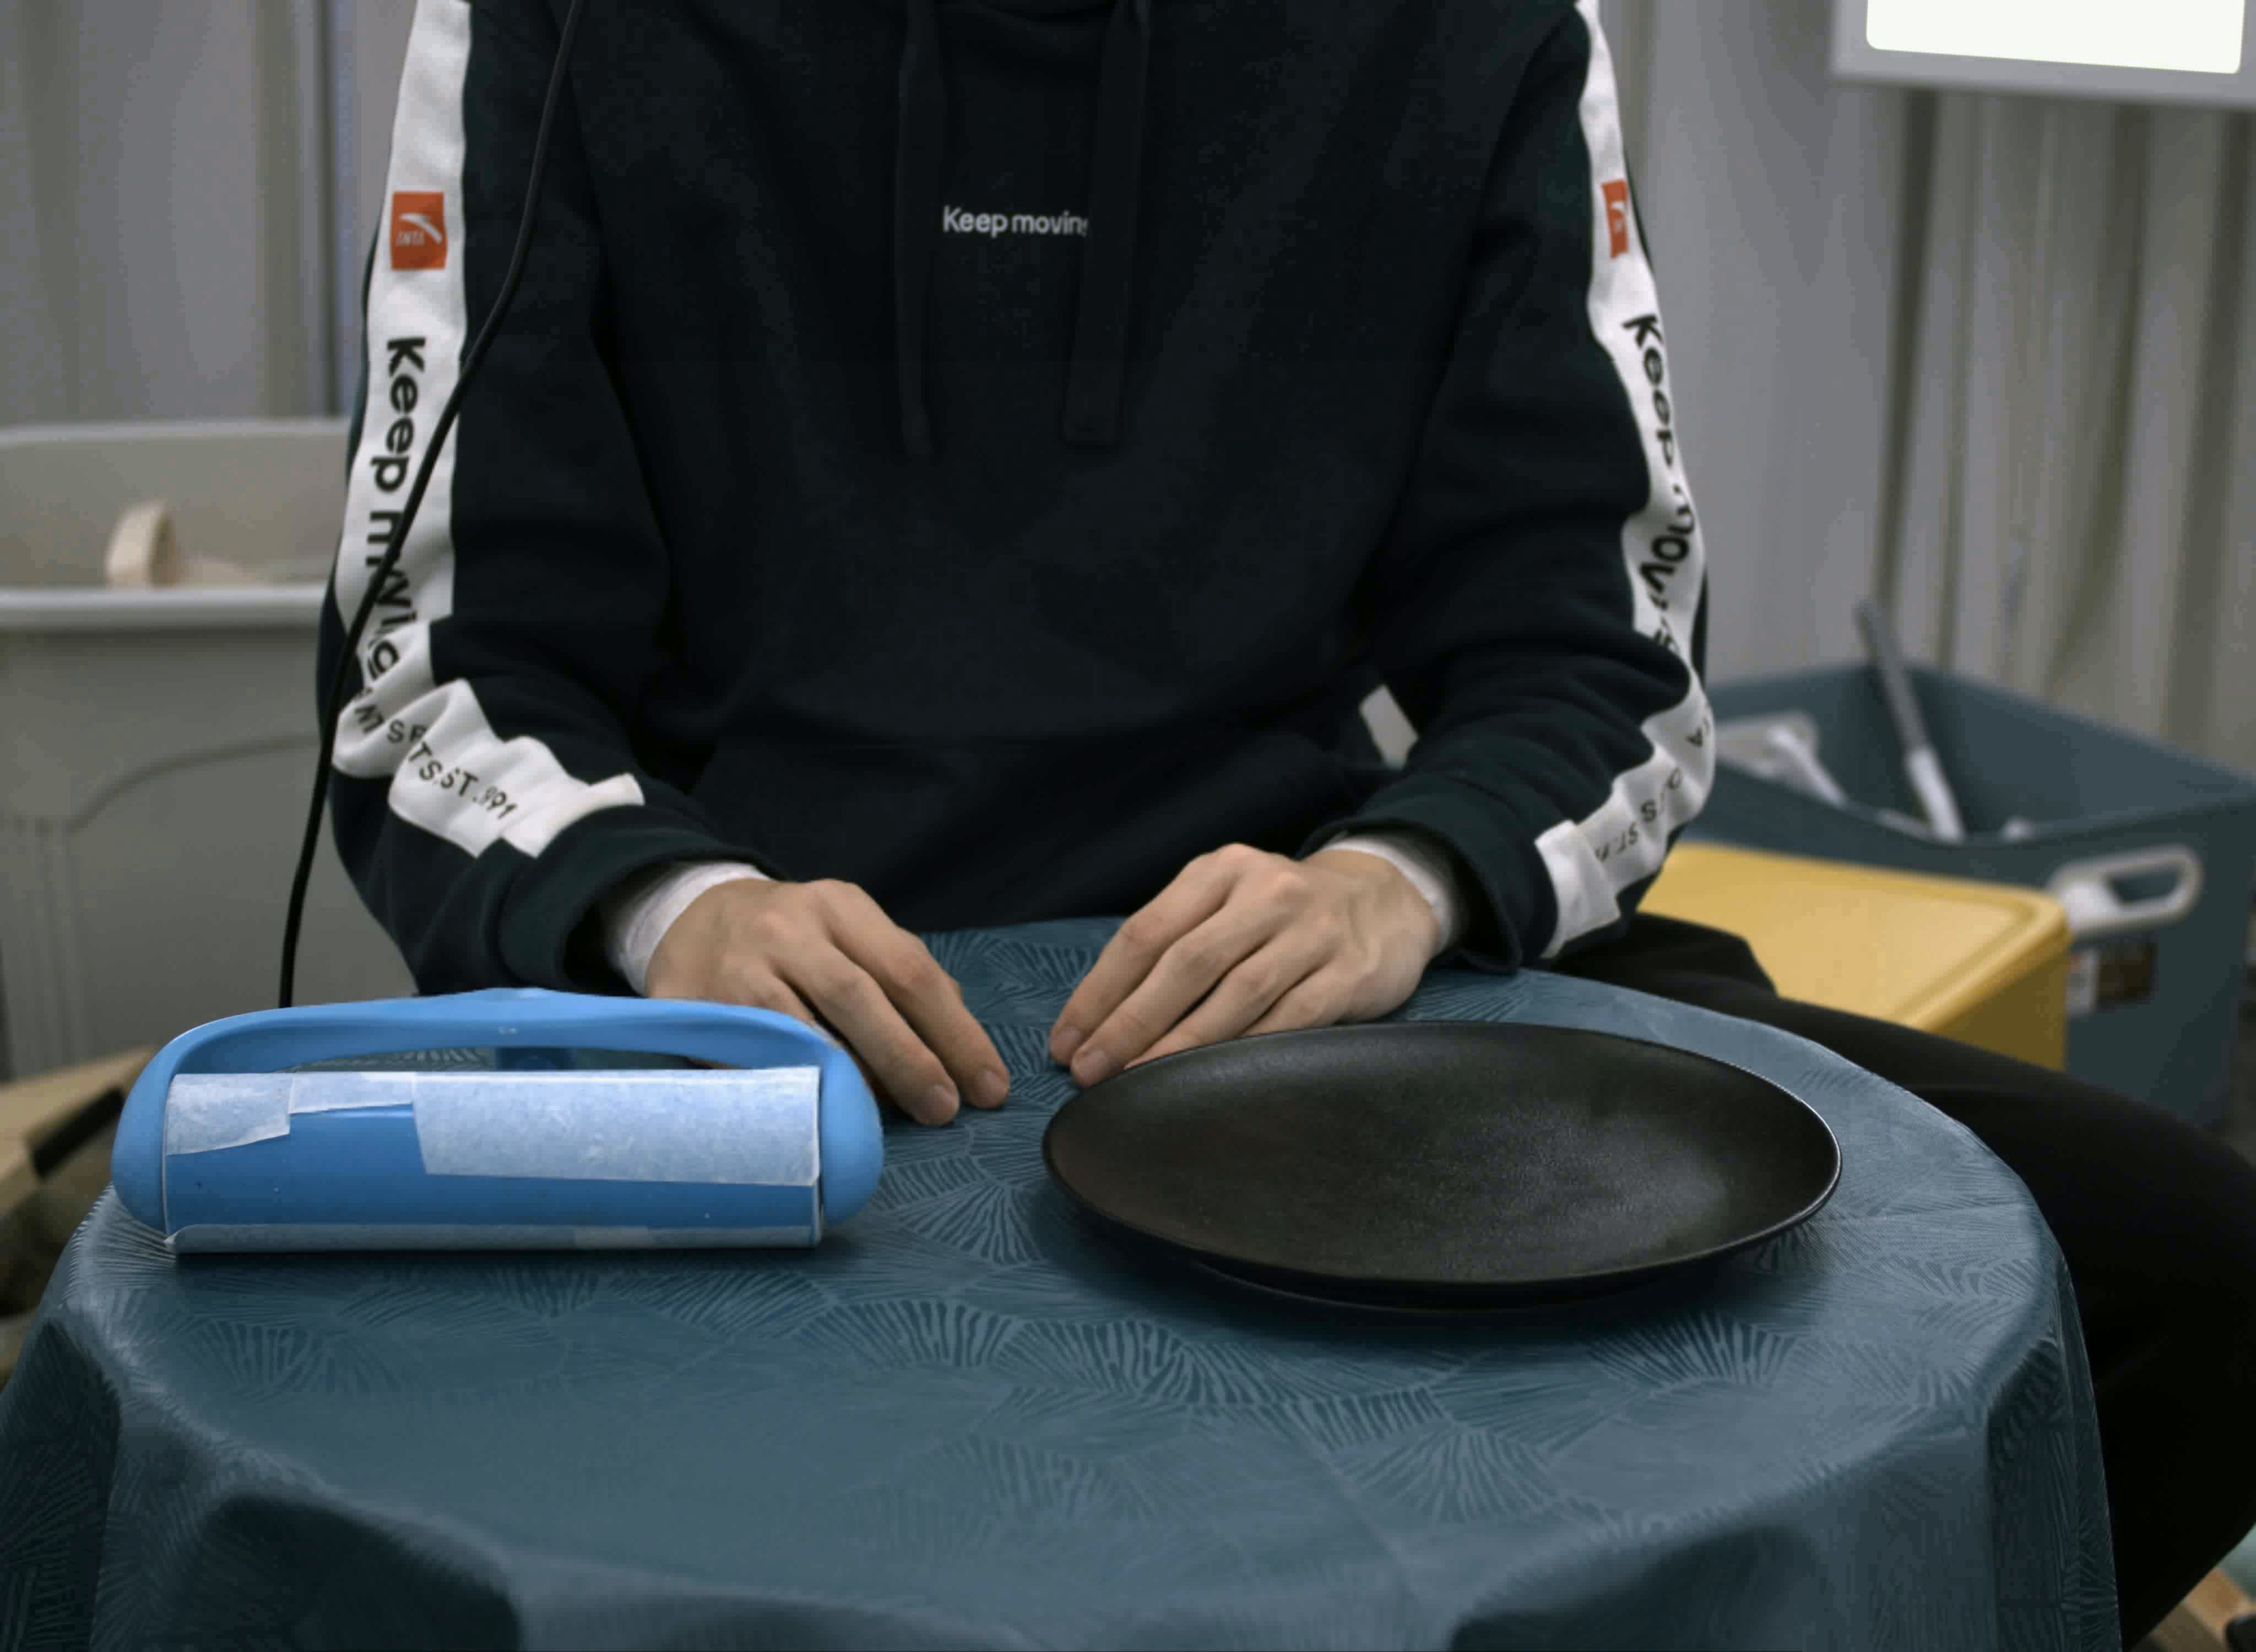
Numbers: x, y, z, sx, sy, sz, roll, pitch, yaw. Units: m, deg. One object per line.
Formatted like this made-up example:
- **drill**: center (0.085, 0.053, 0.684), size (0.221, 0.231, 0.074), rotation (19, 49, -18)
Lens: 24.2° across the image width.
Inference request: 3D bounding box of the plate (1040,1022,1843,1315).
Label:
- **plate**: center (0.095, 0.106, 1.601), size (0.243, 0.023, 0.243), rotation (1, 15, 0)

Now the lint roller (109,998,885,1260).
- **lint roller**: center (-0.191, 0.083, 1.615), size (0.228, 0.068, 0.179), rotation (-2, 16, -5)
